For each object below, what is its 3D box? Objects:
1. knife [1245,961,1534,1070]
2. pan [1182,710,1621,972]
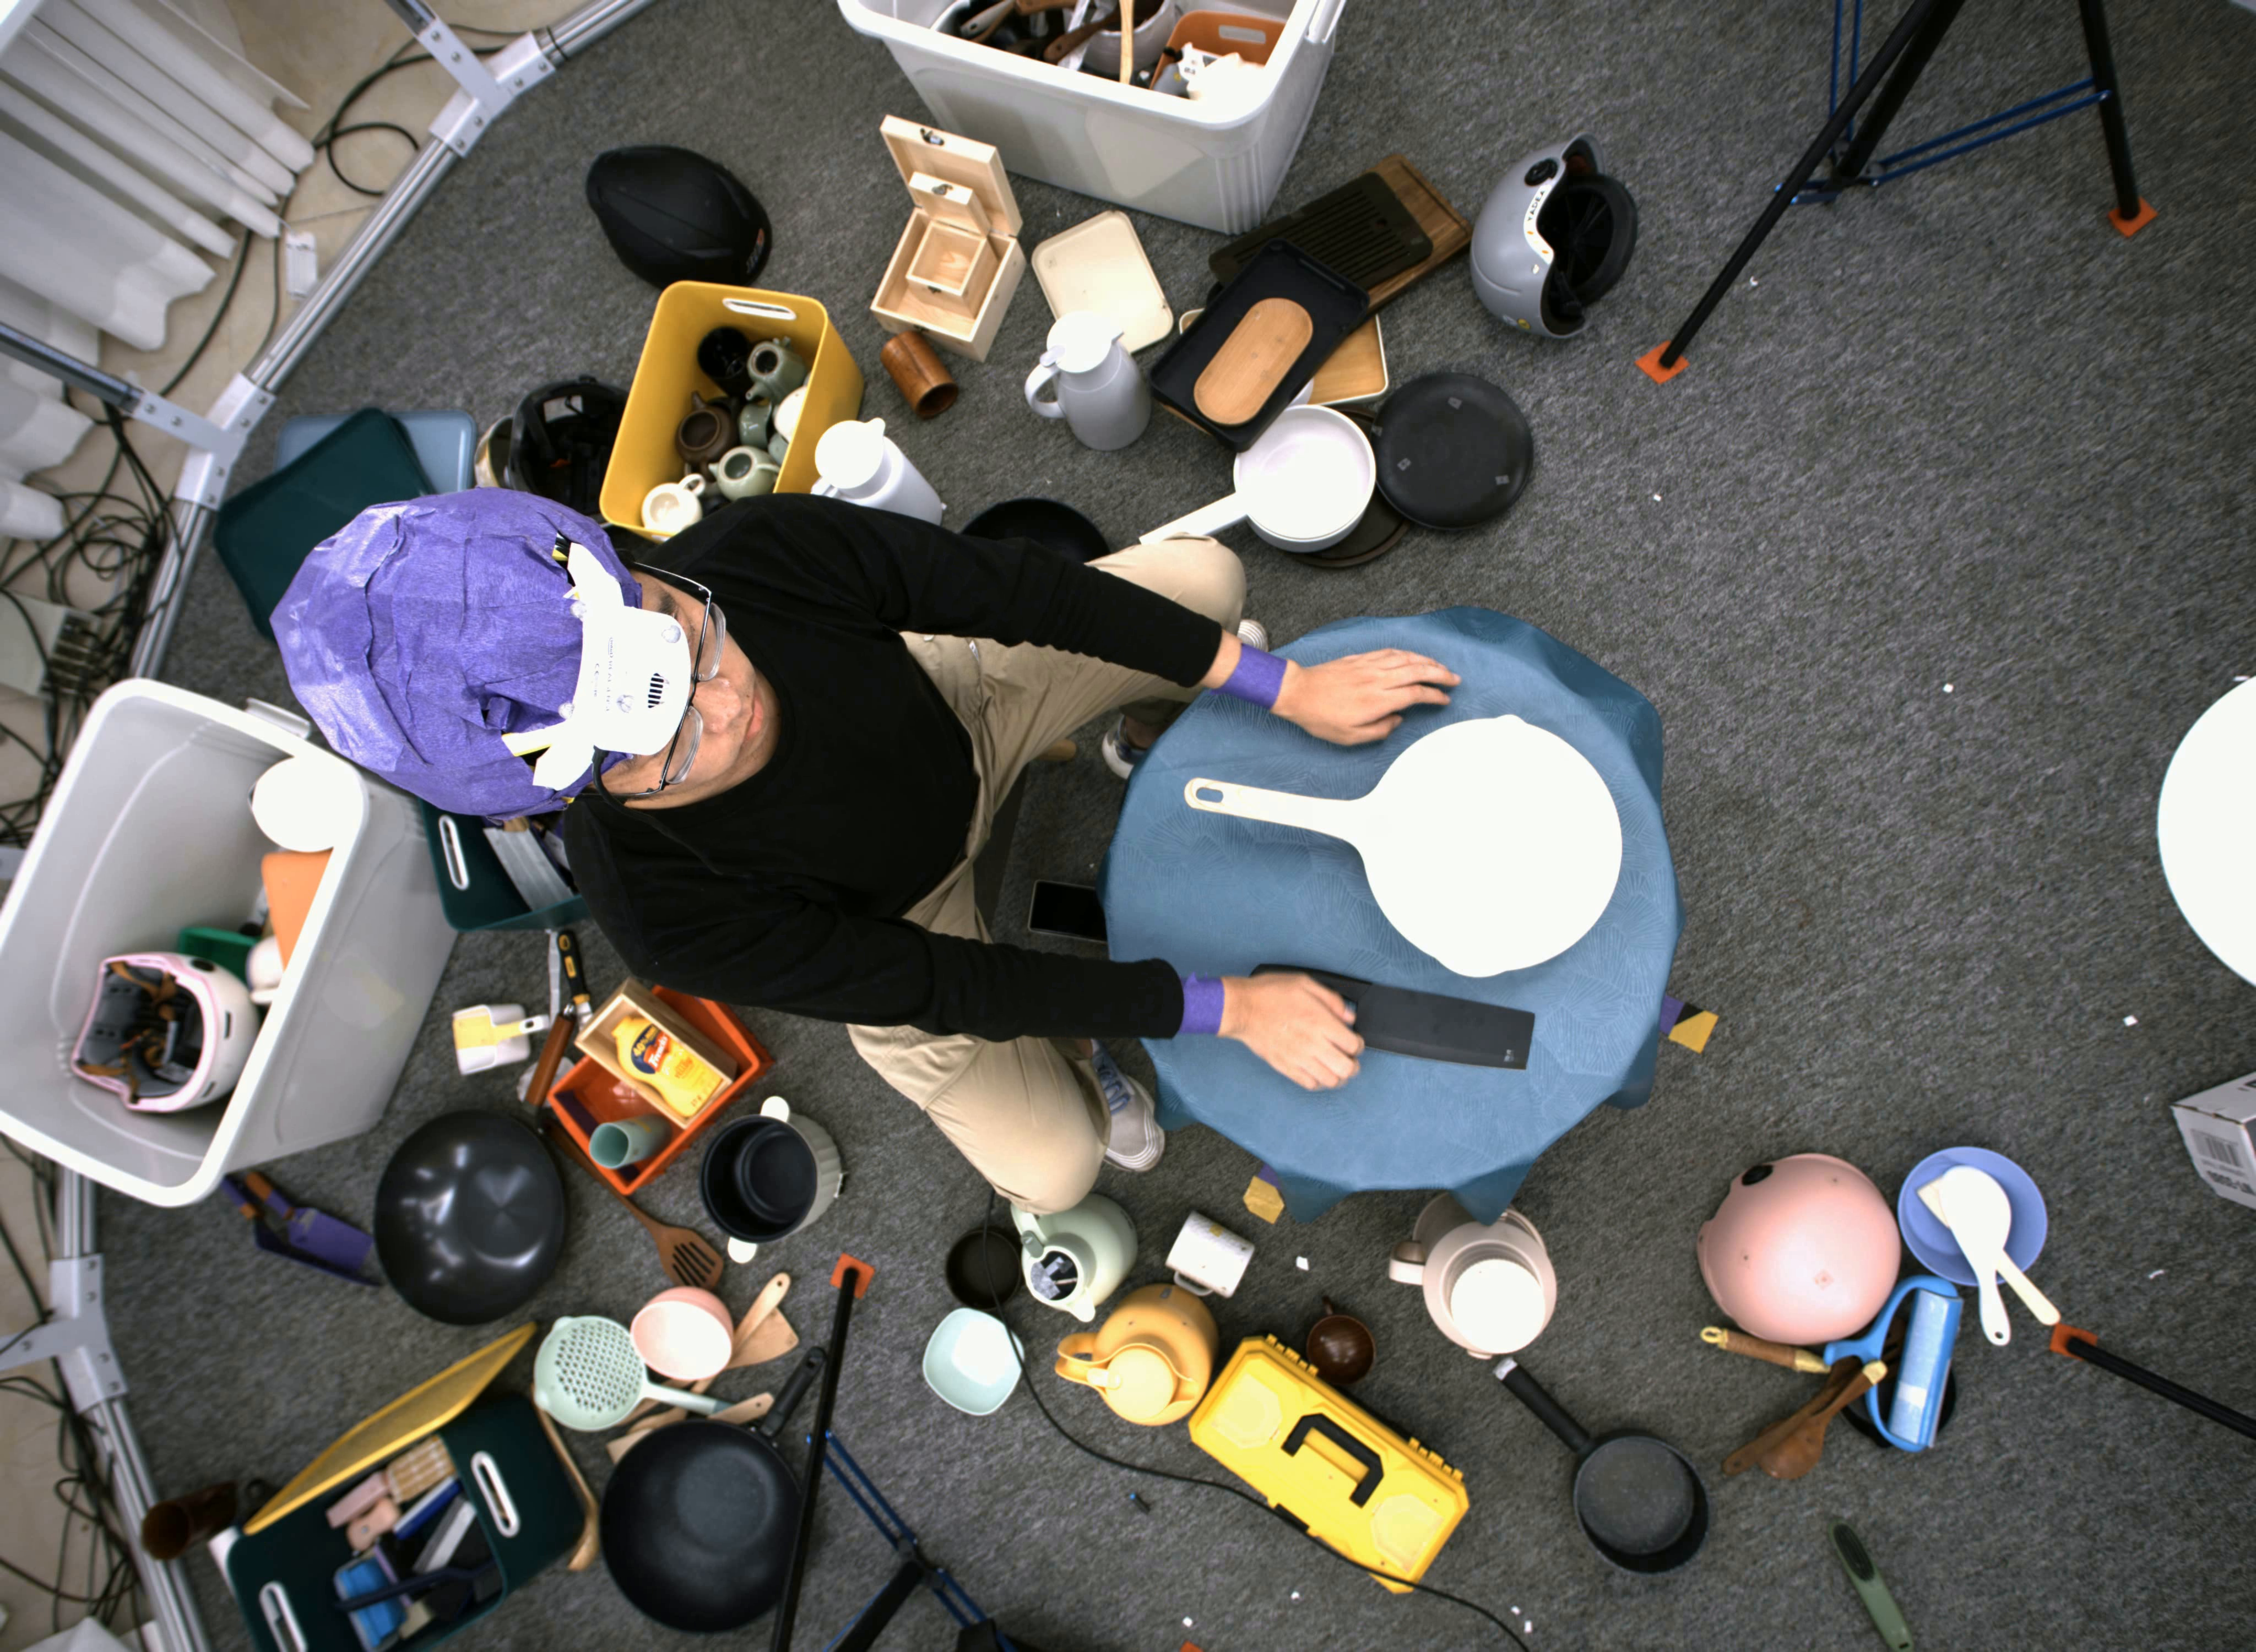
[{"bbox_3d":[0.272,0.193,1.448,0.303,0.021,0.081,14,90,9],"label":"knife"},{"bbox_3d":[0.276,0.000,1.413,0.436,0.102,0.263,9,90,11],"label":"pan"}]
